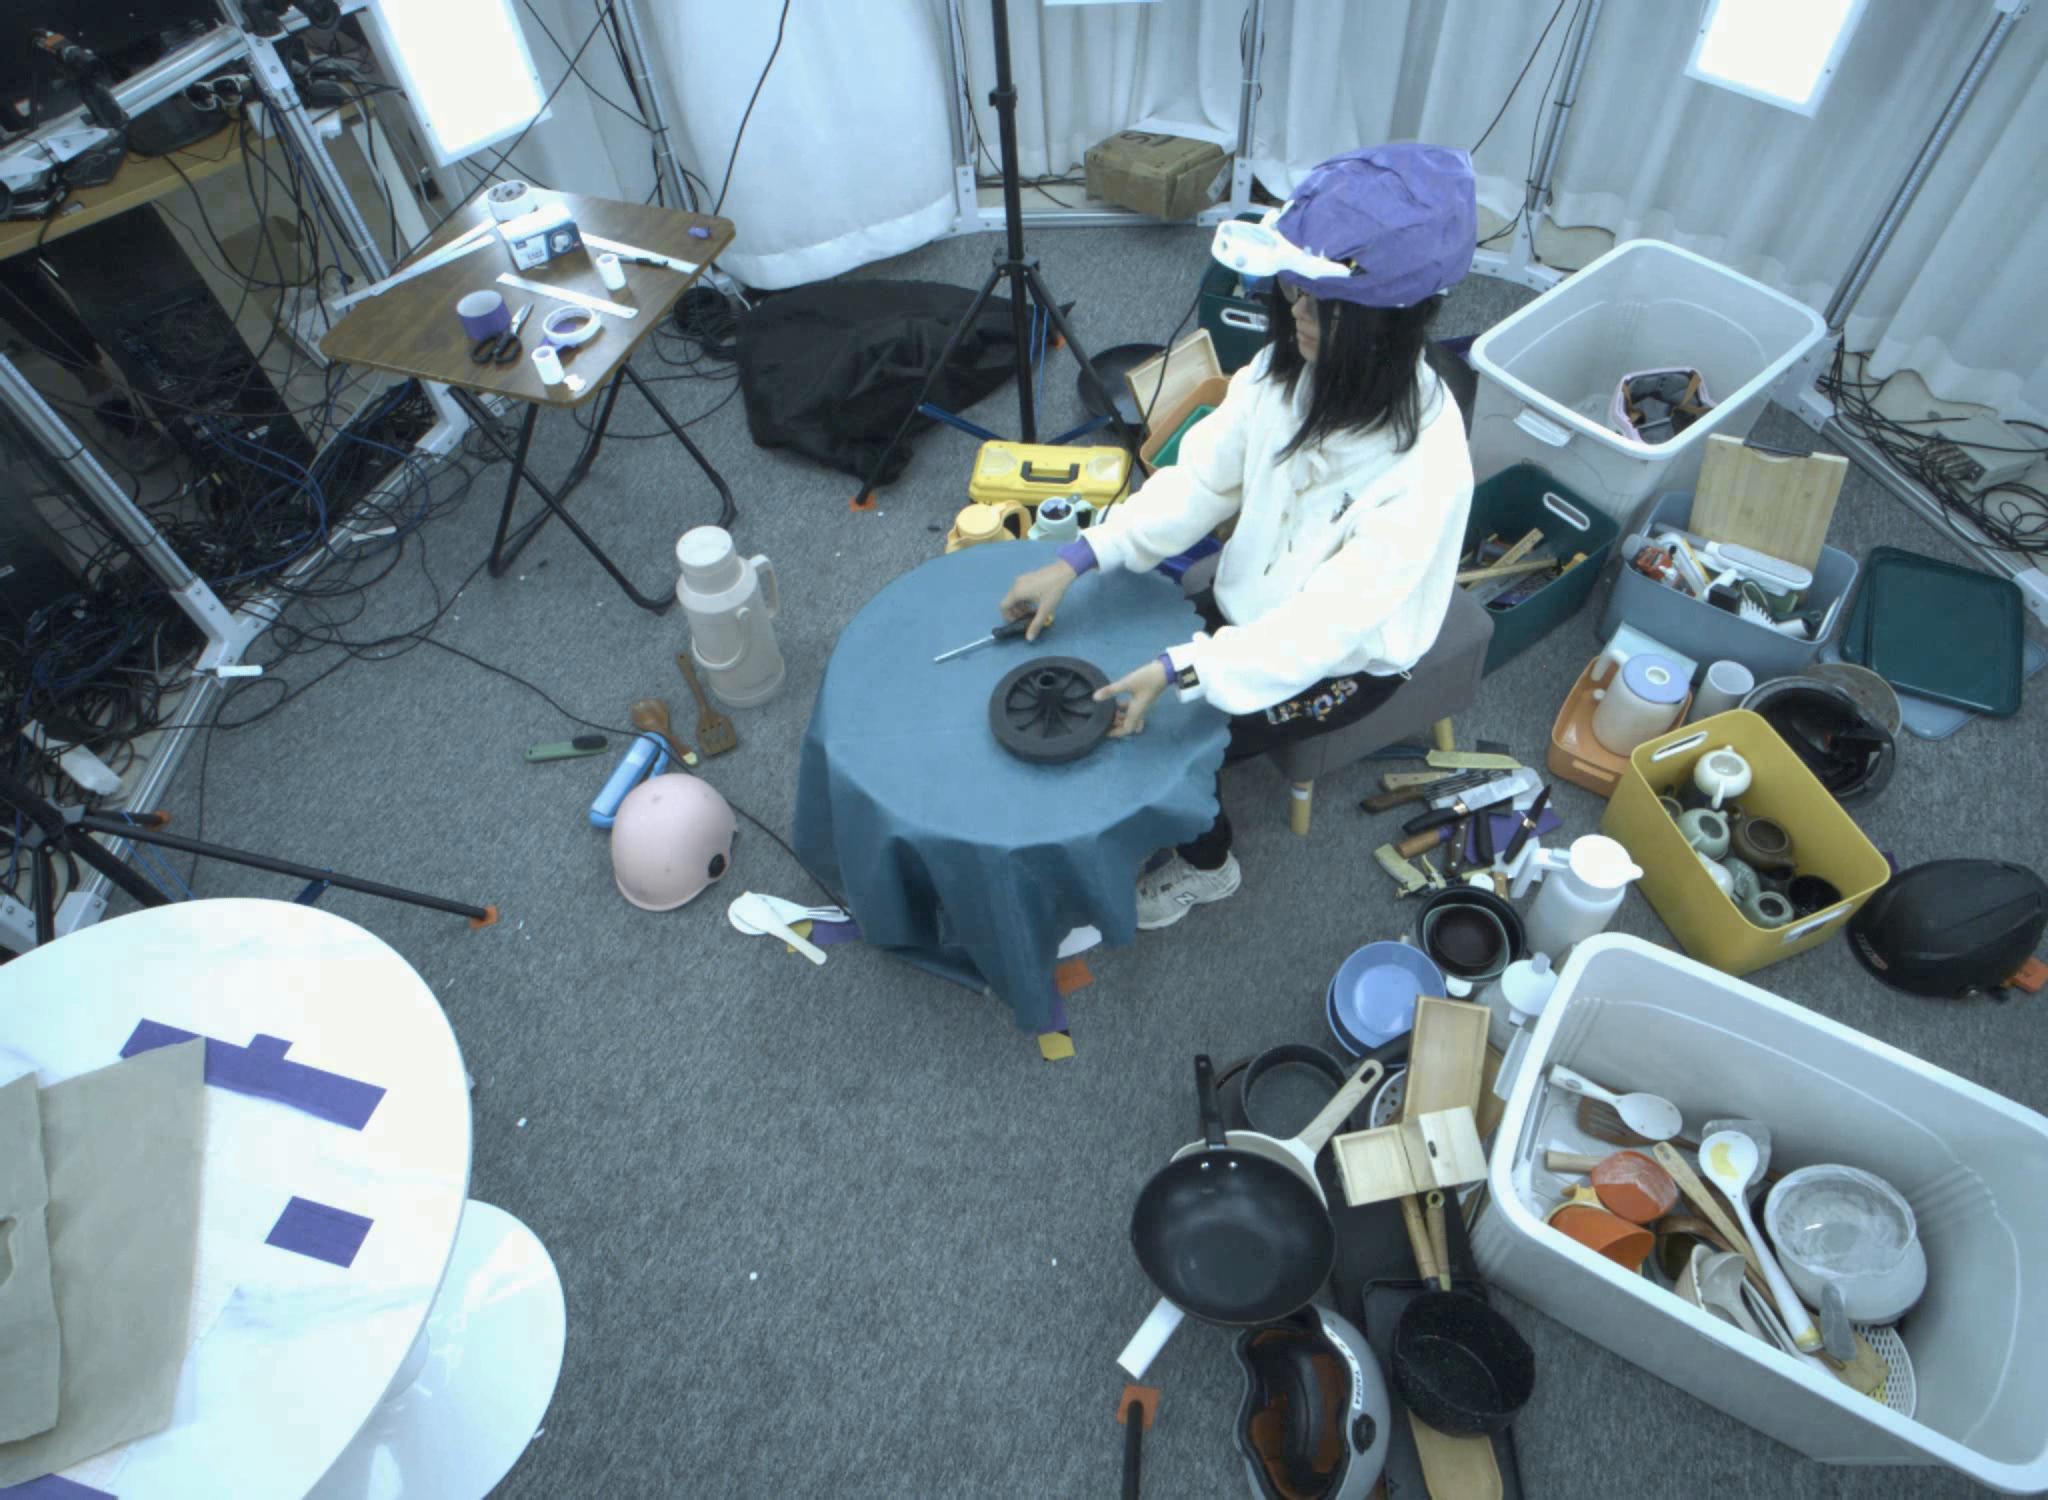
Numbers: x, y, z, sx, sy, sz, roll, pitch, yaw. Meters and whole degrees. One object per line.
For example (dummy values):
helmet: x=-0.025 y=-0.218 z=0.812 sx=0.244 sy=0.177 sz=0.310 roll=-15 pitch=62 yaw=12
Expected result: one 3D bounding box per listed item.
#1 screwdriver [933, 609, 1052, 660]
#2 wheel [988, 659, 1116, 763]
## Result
screwdriver: x=-0.048 y=-0.174 z=1.897 sx=0.197 sy=0.032 sz=0.031 roll=-24 pitch=57 yaw=-12
wheel: x=0.036 y=-0.073 z=1.792 sx=0.186 sy=0.080 sz=0.188 roll=28 pitch=62 yaw=28
